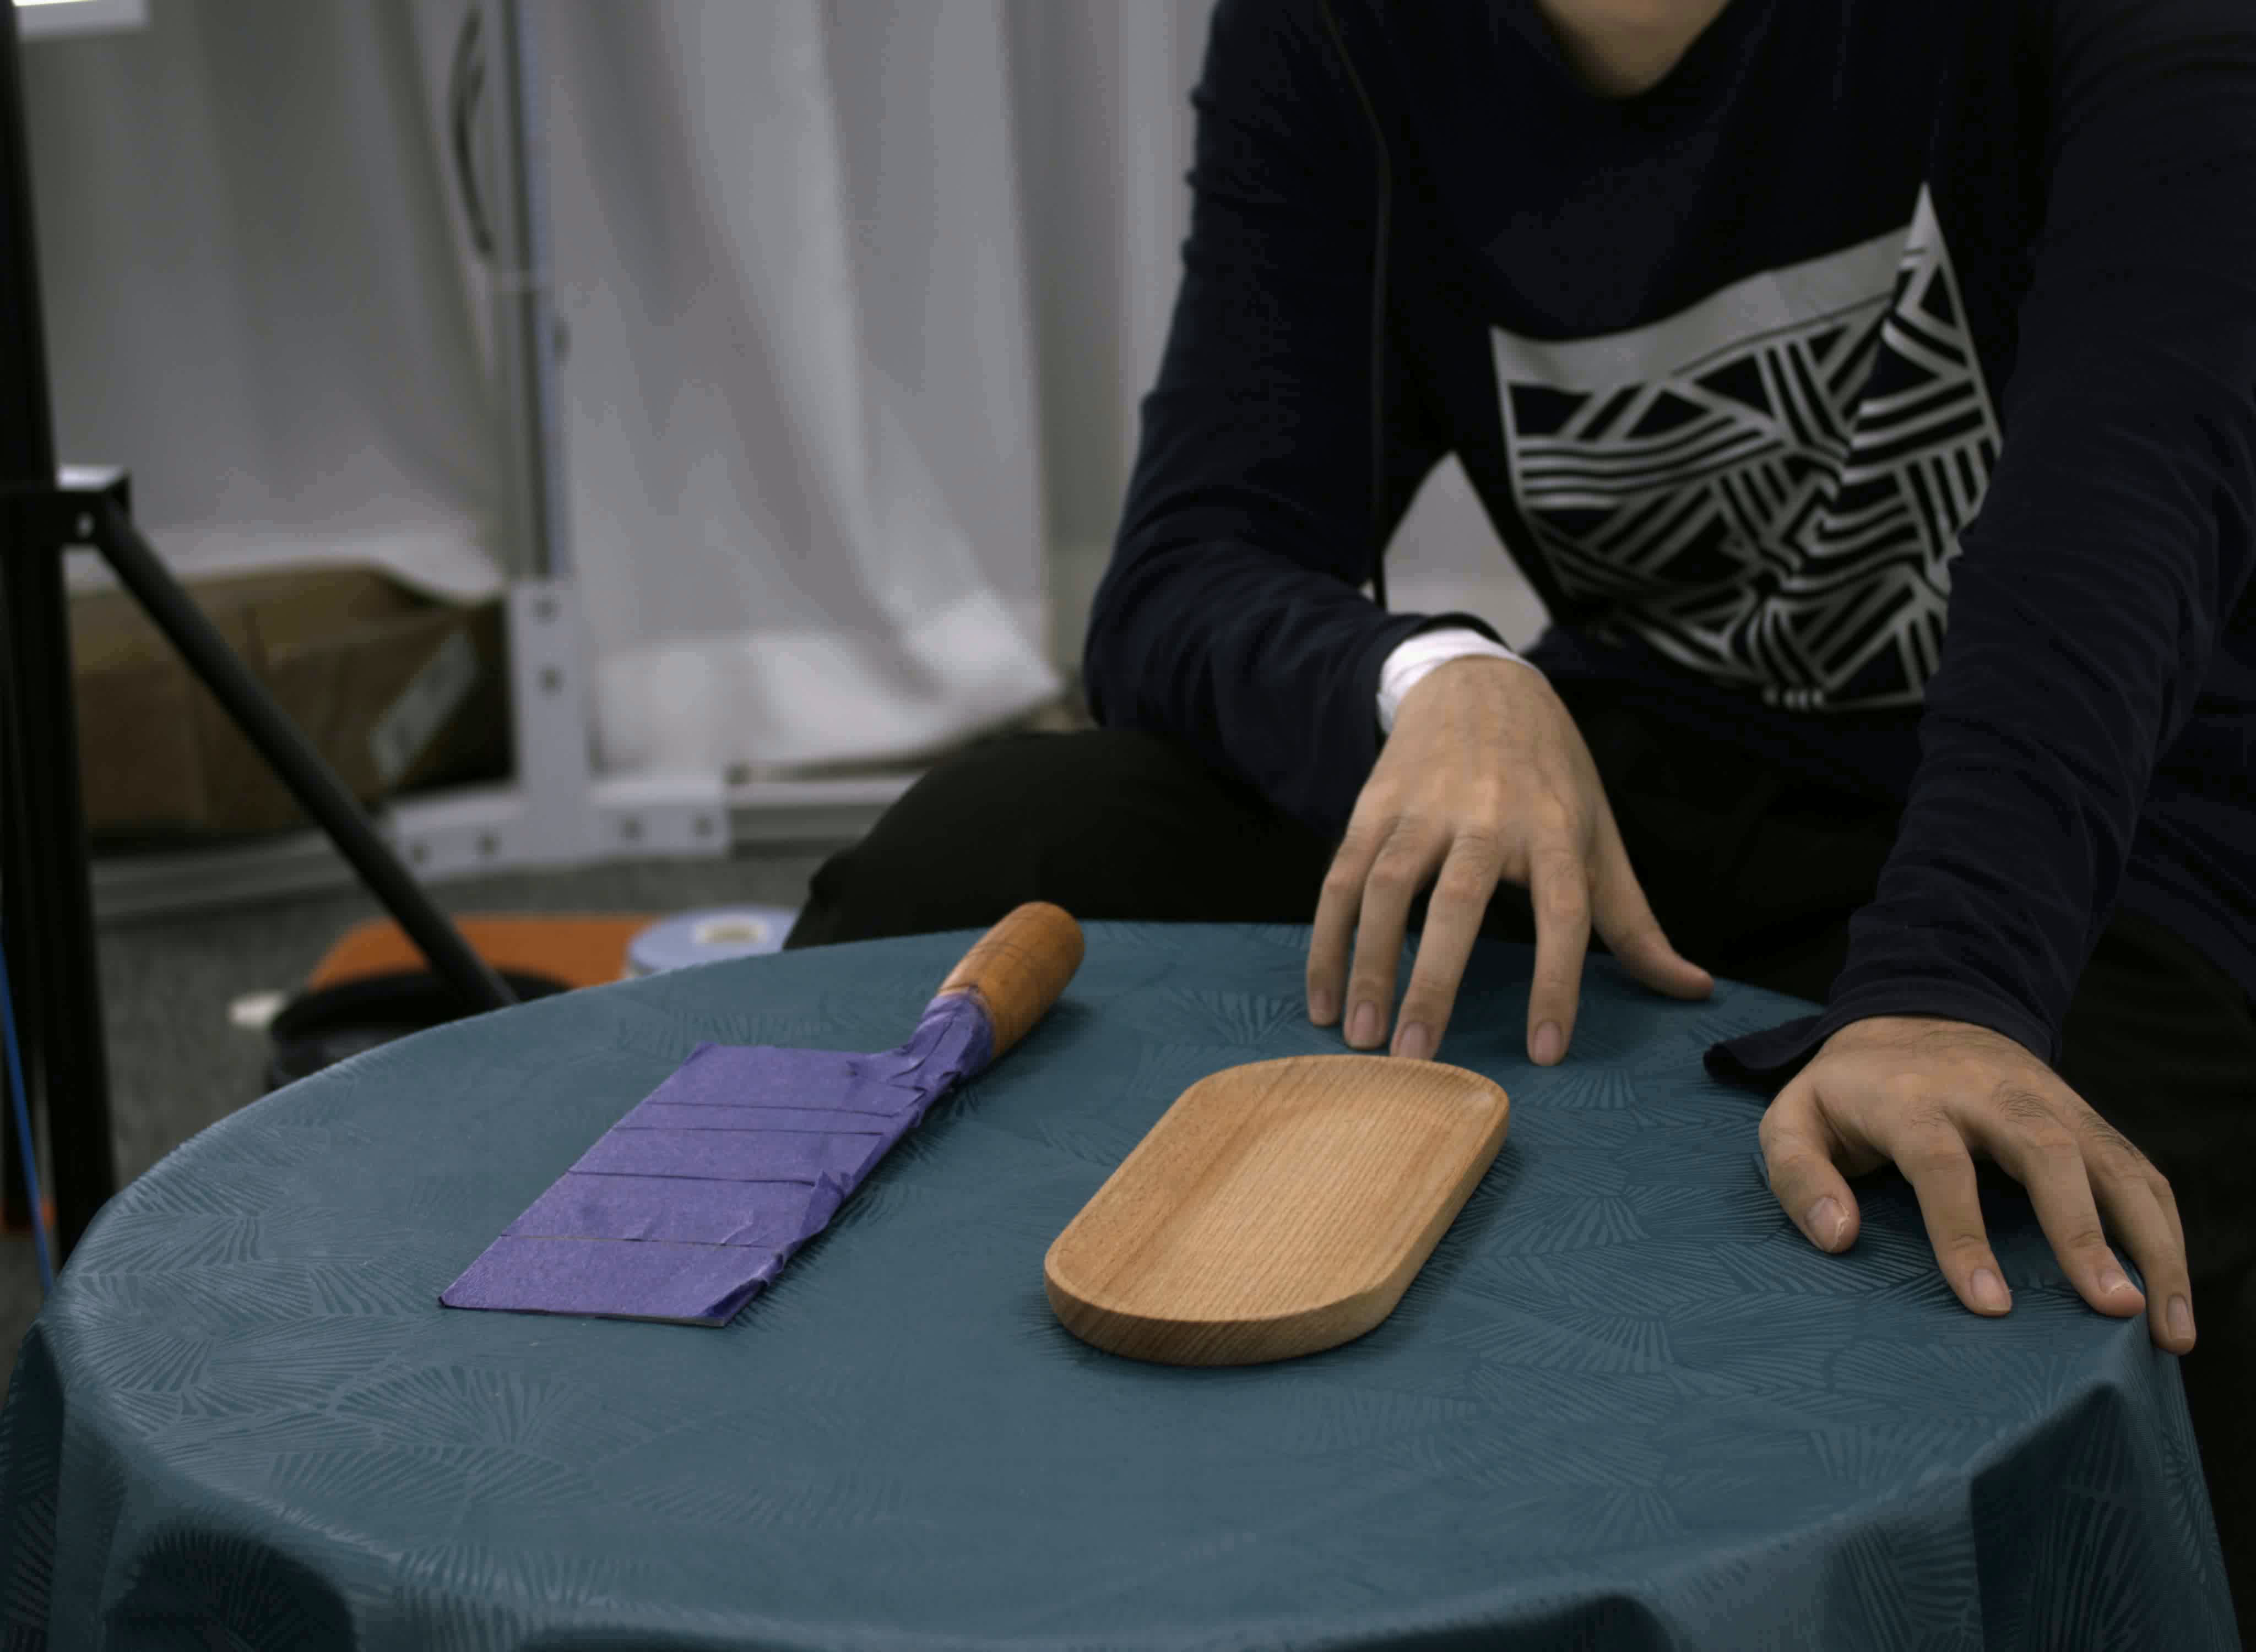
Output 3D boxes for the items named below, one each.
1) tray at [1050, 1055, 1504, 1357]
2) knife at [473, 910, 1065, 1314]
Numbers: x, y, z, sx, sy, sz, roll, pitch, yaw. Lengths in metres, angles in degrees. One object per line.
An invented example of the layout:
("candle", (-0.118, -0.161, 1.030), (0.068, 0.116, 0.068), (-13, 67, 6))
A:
("tray", (0.046, 0.107, 1.529), (0.102, 0.020, 0.229), (3, 15, 15))
("knife", (-0.106, 0.083, 1.617), (0.105, 0.032, 0.312), (3, 17, 17))
